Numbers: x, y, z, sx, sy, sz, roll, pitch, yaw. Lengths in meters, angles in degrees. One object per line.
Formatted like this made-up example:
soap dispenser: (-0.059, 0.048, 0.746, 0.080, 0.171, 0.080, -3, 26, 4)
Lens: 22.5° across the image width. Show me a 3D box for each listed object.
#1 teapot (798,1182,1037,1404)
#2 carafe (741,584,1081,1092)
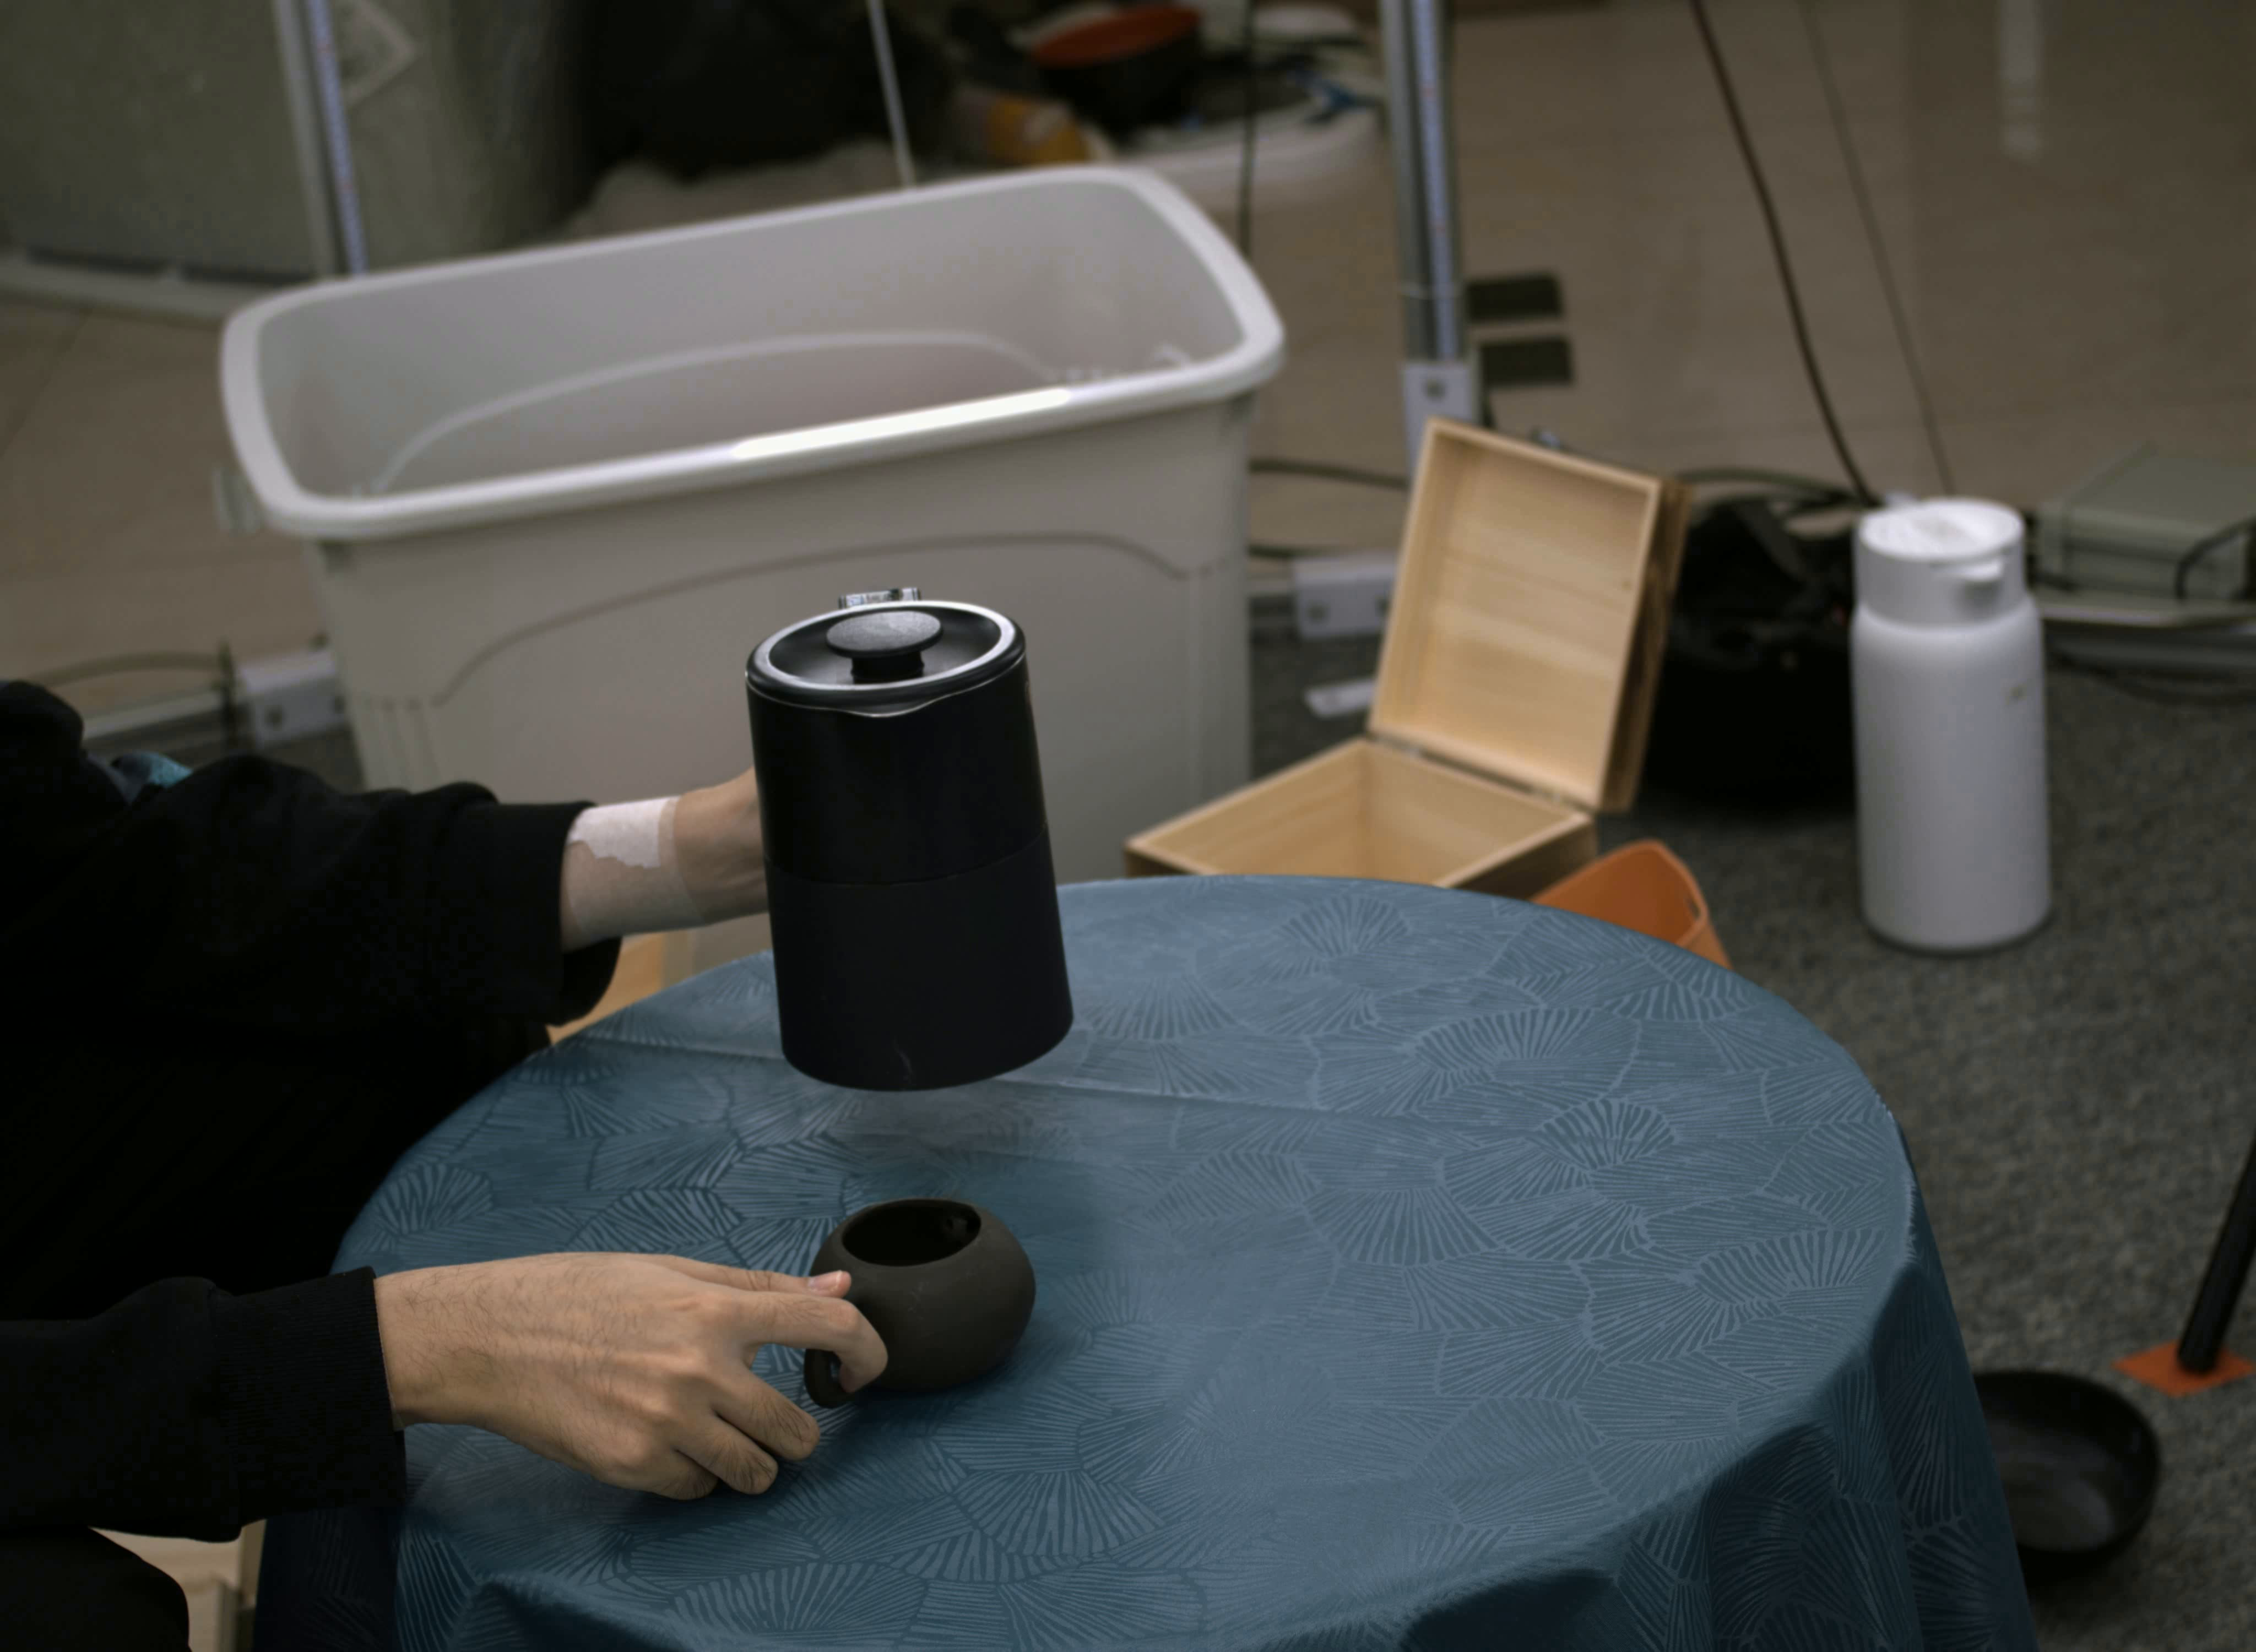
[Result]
teapot: (-0.081, 0.171, 2.036, 0.082, 0.054, 0.113, 11, 28, 35)
carafe: (-0.087, -0.005, 2.182, 0.114, 0.176, 0.169, -8, 24, -2)
